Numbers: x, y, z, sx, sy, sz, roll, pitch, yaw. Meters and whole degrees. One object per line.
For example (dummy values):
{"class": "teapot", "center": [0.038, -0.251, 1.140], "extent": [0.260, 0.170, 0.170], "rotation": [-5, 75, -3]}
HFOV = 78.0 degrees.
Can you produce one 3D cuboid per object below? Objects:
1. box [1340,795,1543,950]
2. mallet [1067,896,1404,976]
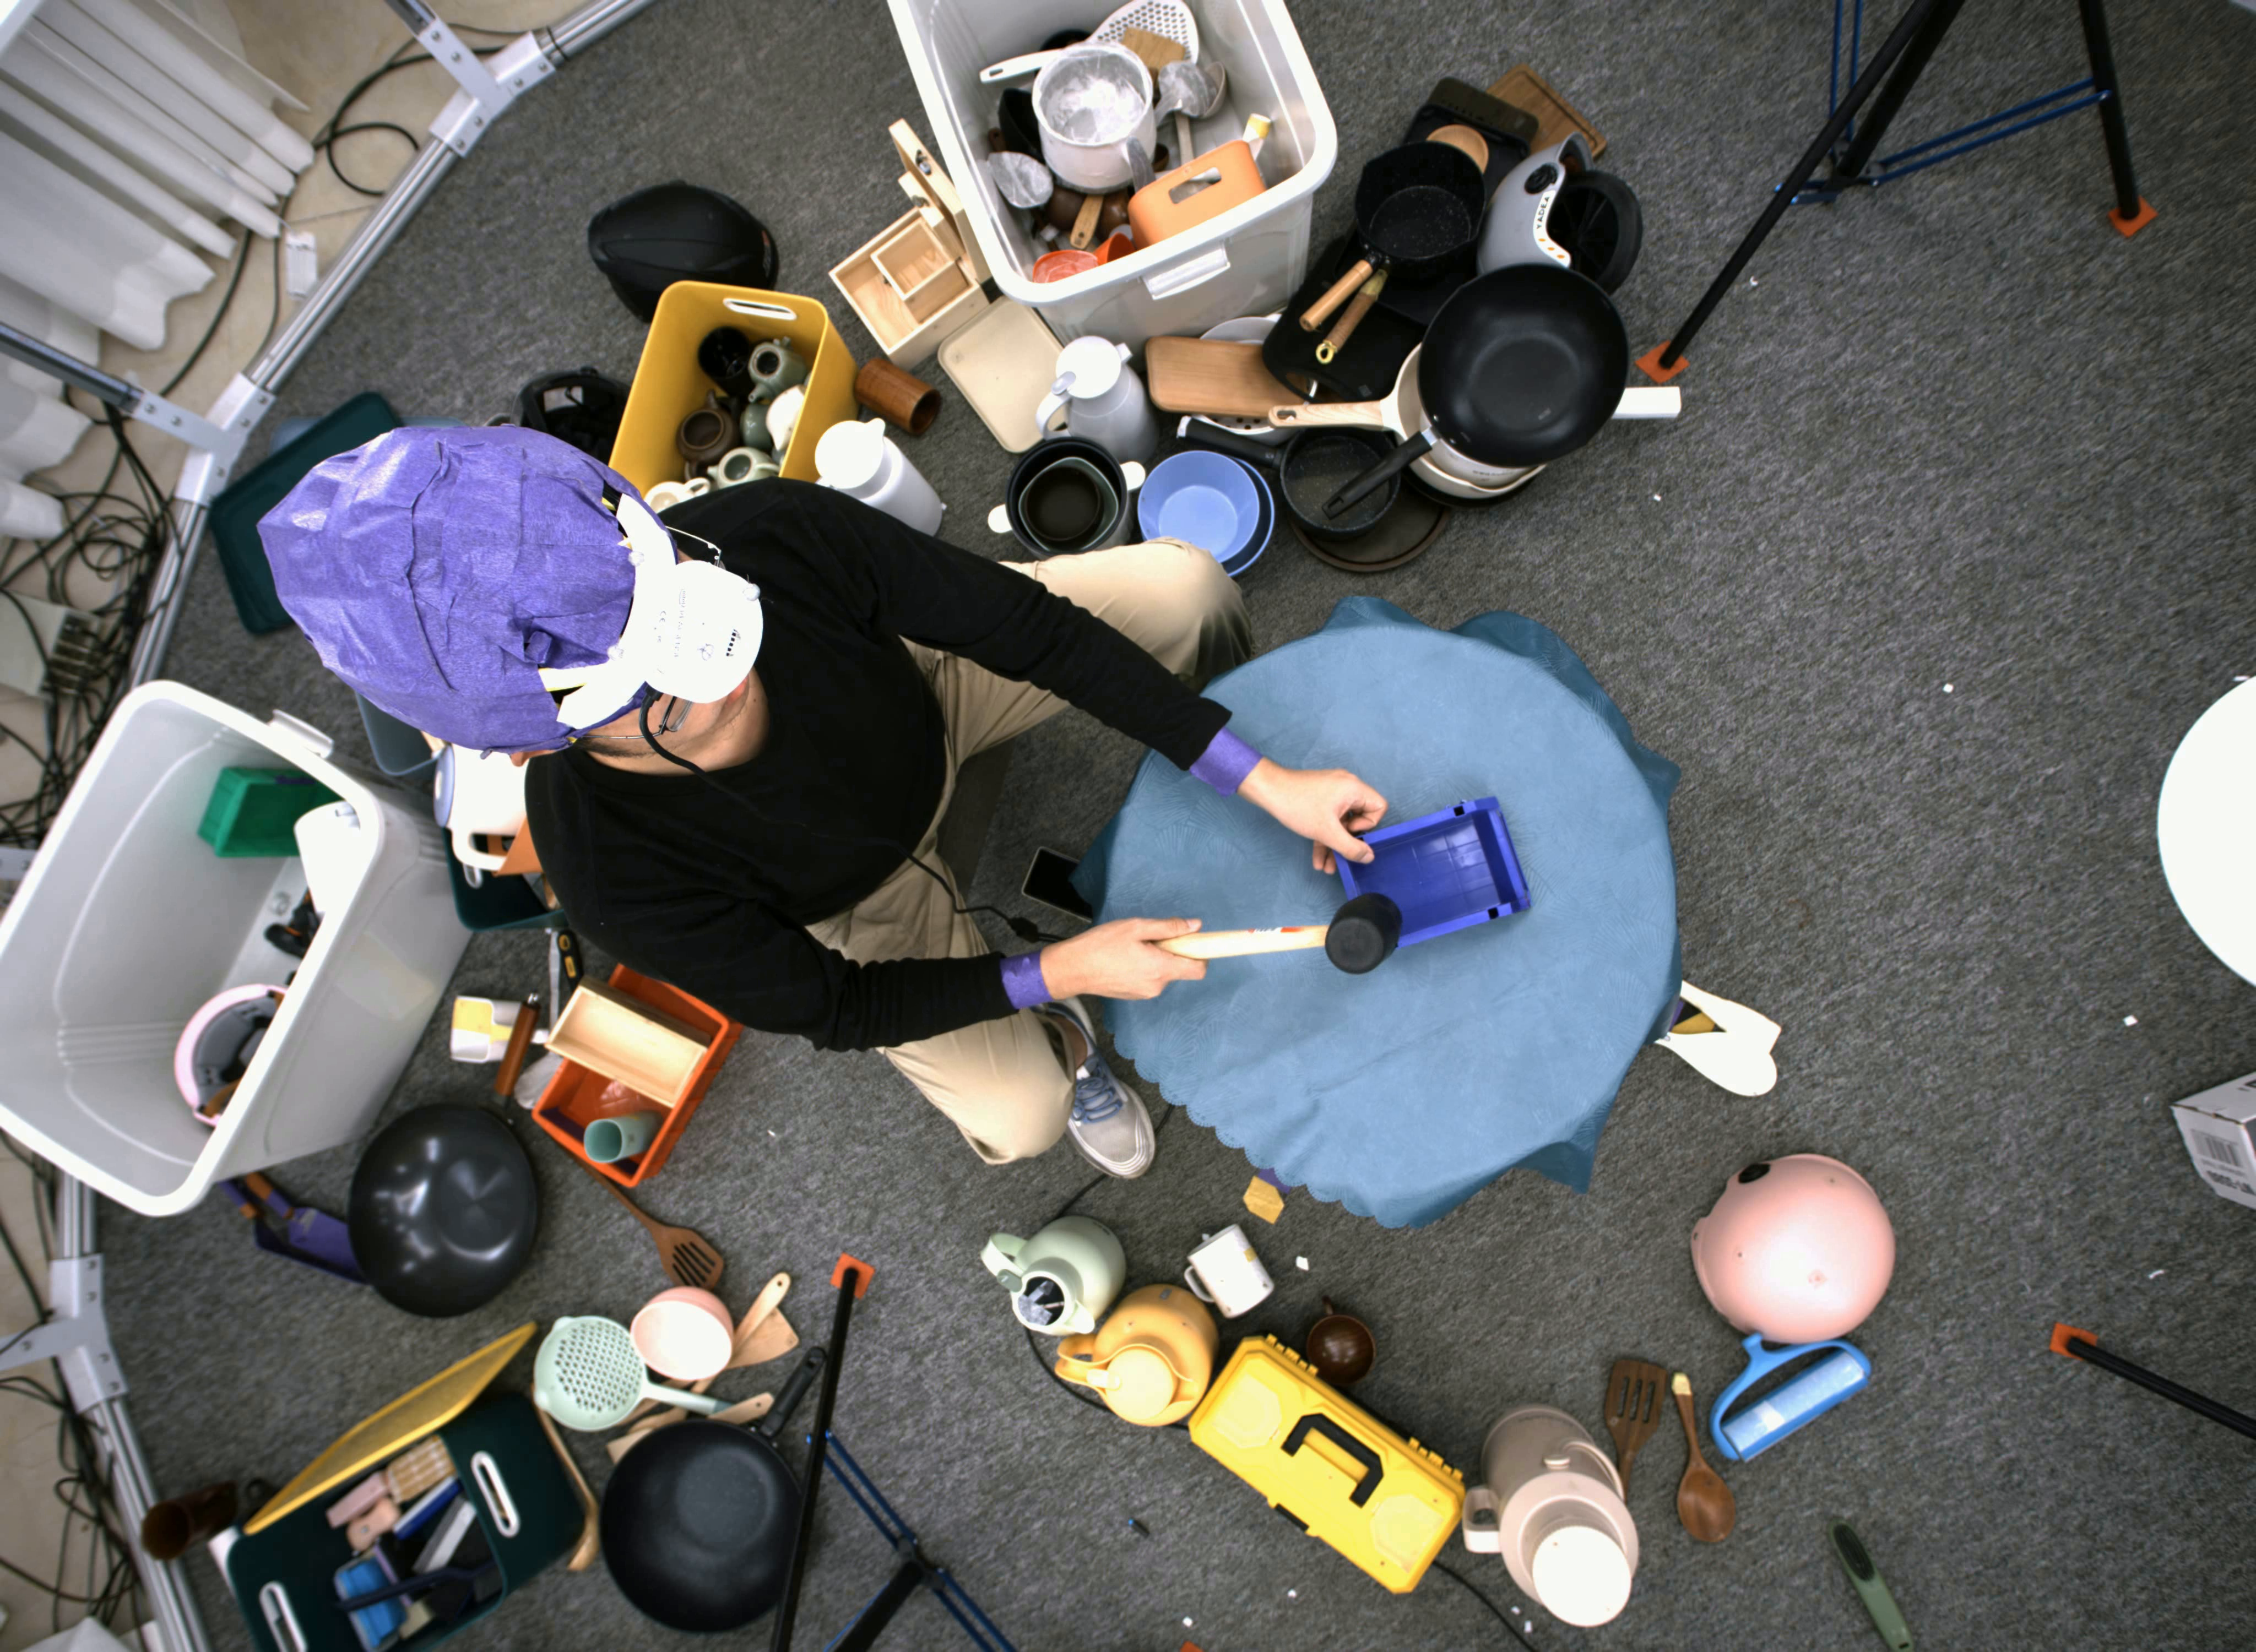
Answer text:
{"class": "box", "center": [0.322, 0.046, 1.411], "extent": [0.181, 0.082, 0.124], "rotation": [-17, 84, 12]}
{"class": "mallet", "center": [0.096, 0.108, 1.356], "extent": [0.341, 0.100, 0.064], "rotation": [-3, 98, 25]}
